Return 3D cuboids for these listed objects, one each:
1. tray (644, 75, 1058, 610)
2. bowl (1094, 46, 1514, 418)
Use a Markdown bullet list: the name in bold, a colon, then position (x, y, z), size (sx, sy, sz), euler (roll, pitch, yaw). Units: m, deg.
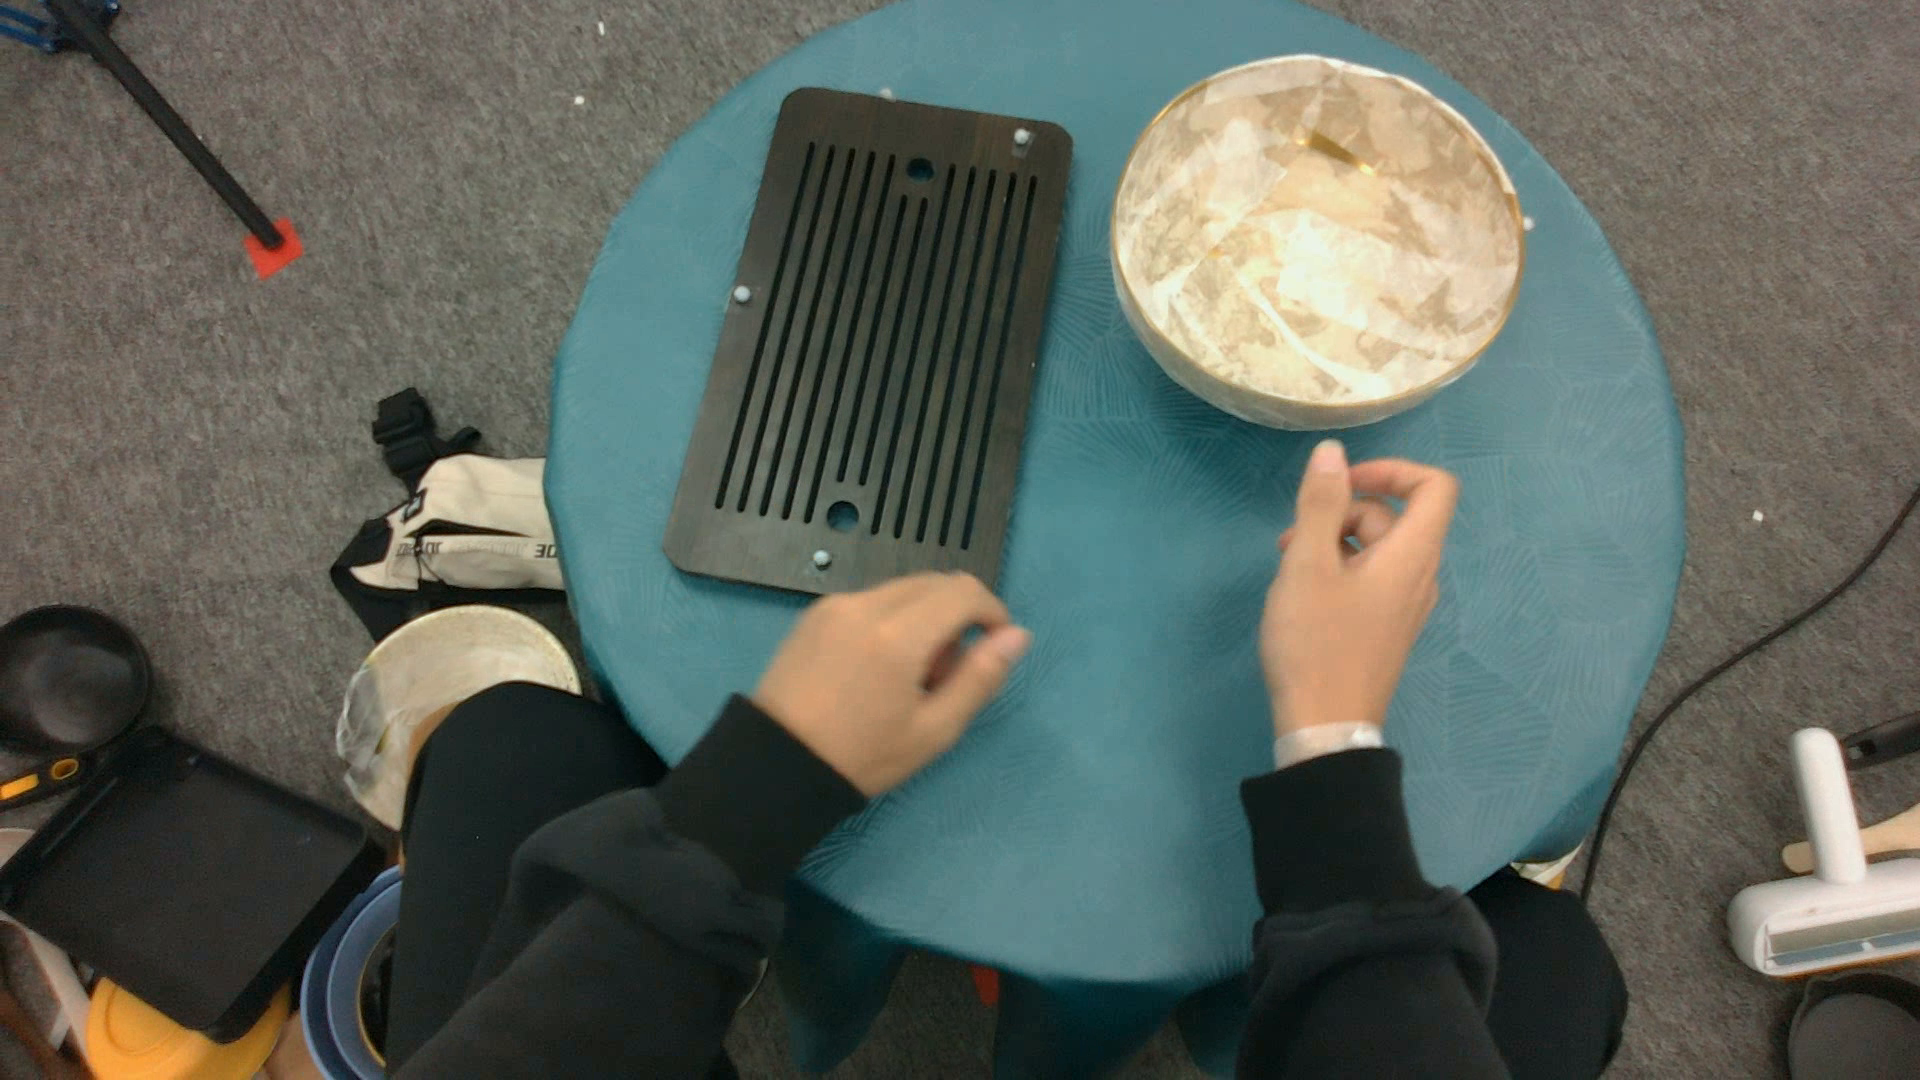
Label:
- **tray**: position (-0.051, -0.115, 0.741), size (0.170, 0.018, 0.307), euler (9, 68, 3)
- **bowl**: position (0.165, -0.143, 0.713), size (0.215, 0.094, 0.215), euler (1, 69, -2)
